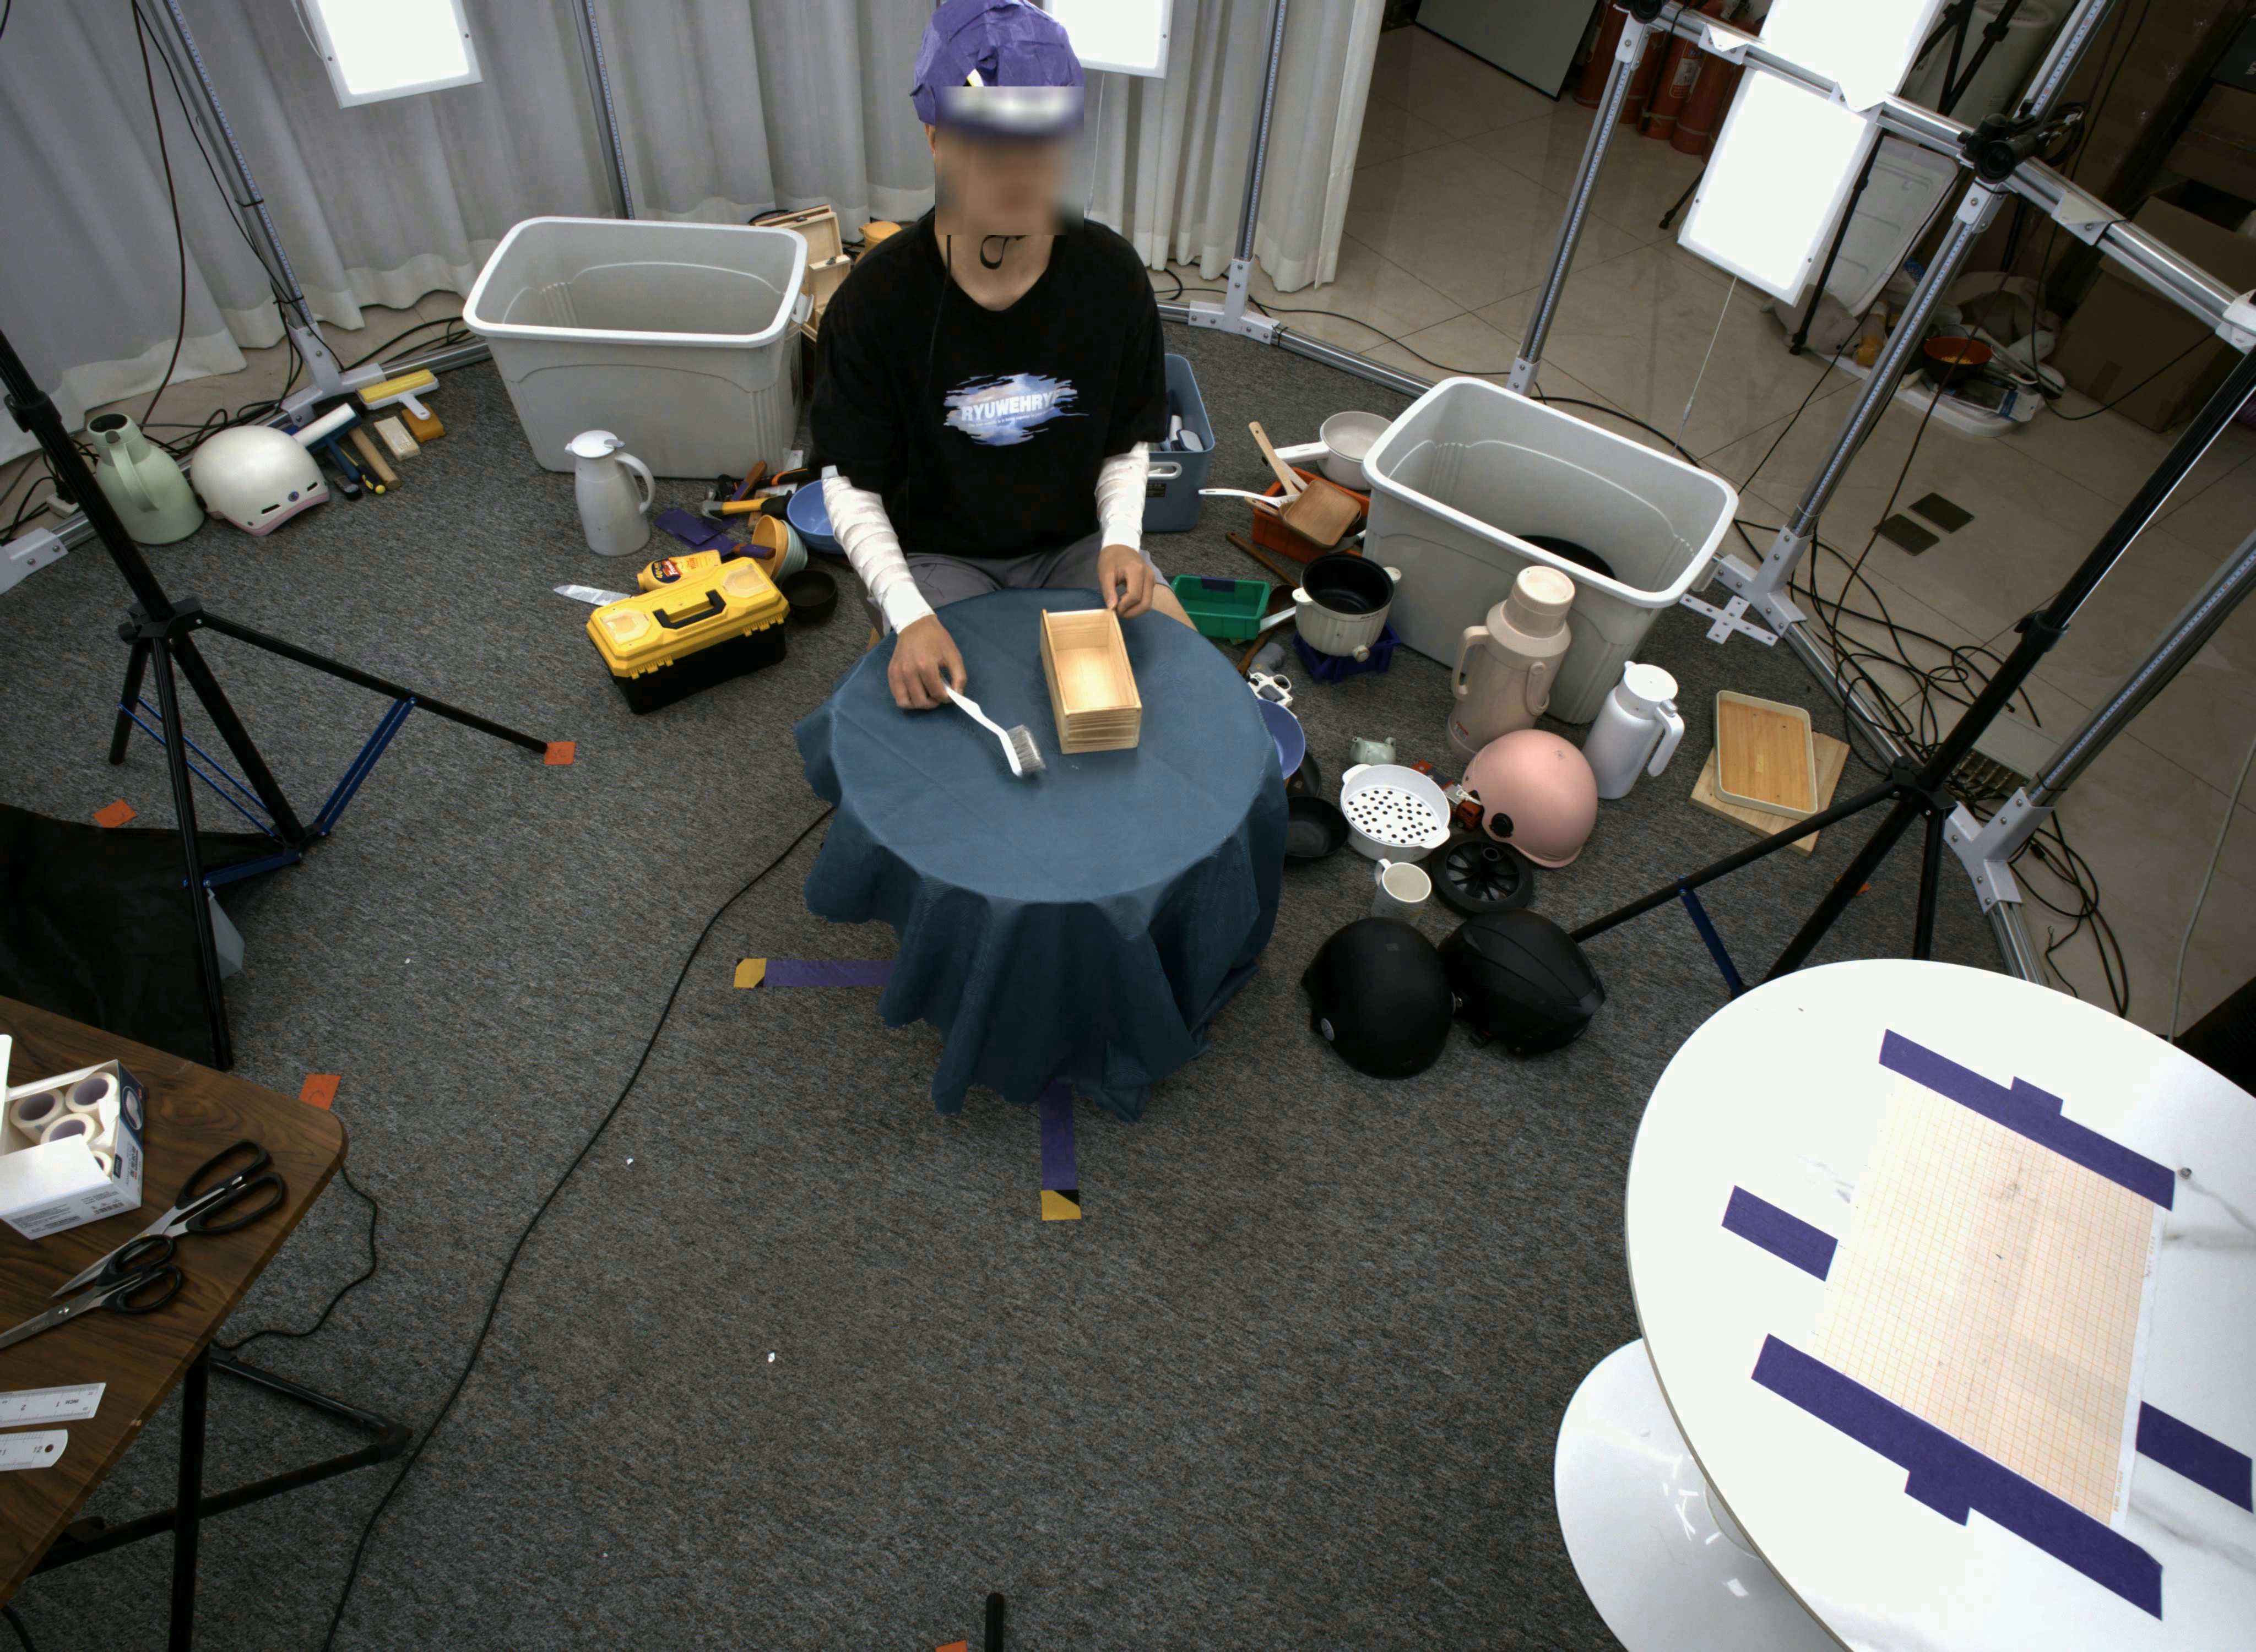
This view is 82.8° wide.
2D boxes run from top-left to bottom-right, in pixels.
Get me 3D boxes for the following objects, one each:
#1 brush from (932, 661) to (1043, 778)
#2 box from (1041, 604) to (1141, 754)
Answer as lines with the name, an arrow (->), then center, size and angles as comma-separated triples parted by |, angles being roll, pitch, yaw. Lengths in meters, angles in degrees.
brush -> -0.191, -0.158, 1.756 | 0.050, 0.034, 0.248 | -43, 61, 8
box -> -0.055, -0.208, 1.798 | 0.107, 0.078, 0.217 | -7, 50, -9
